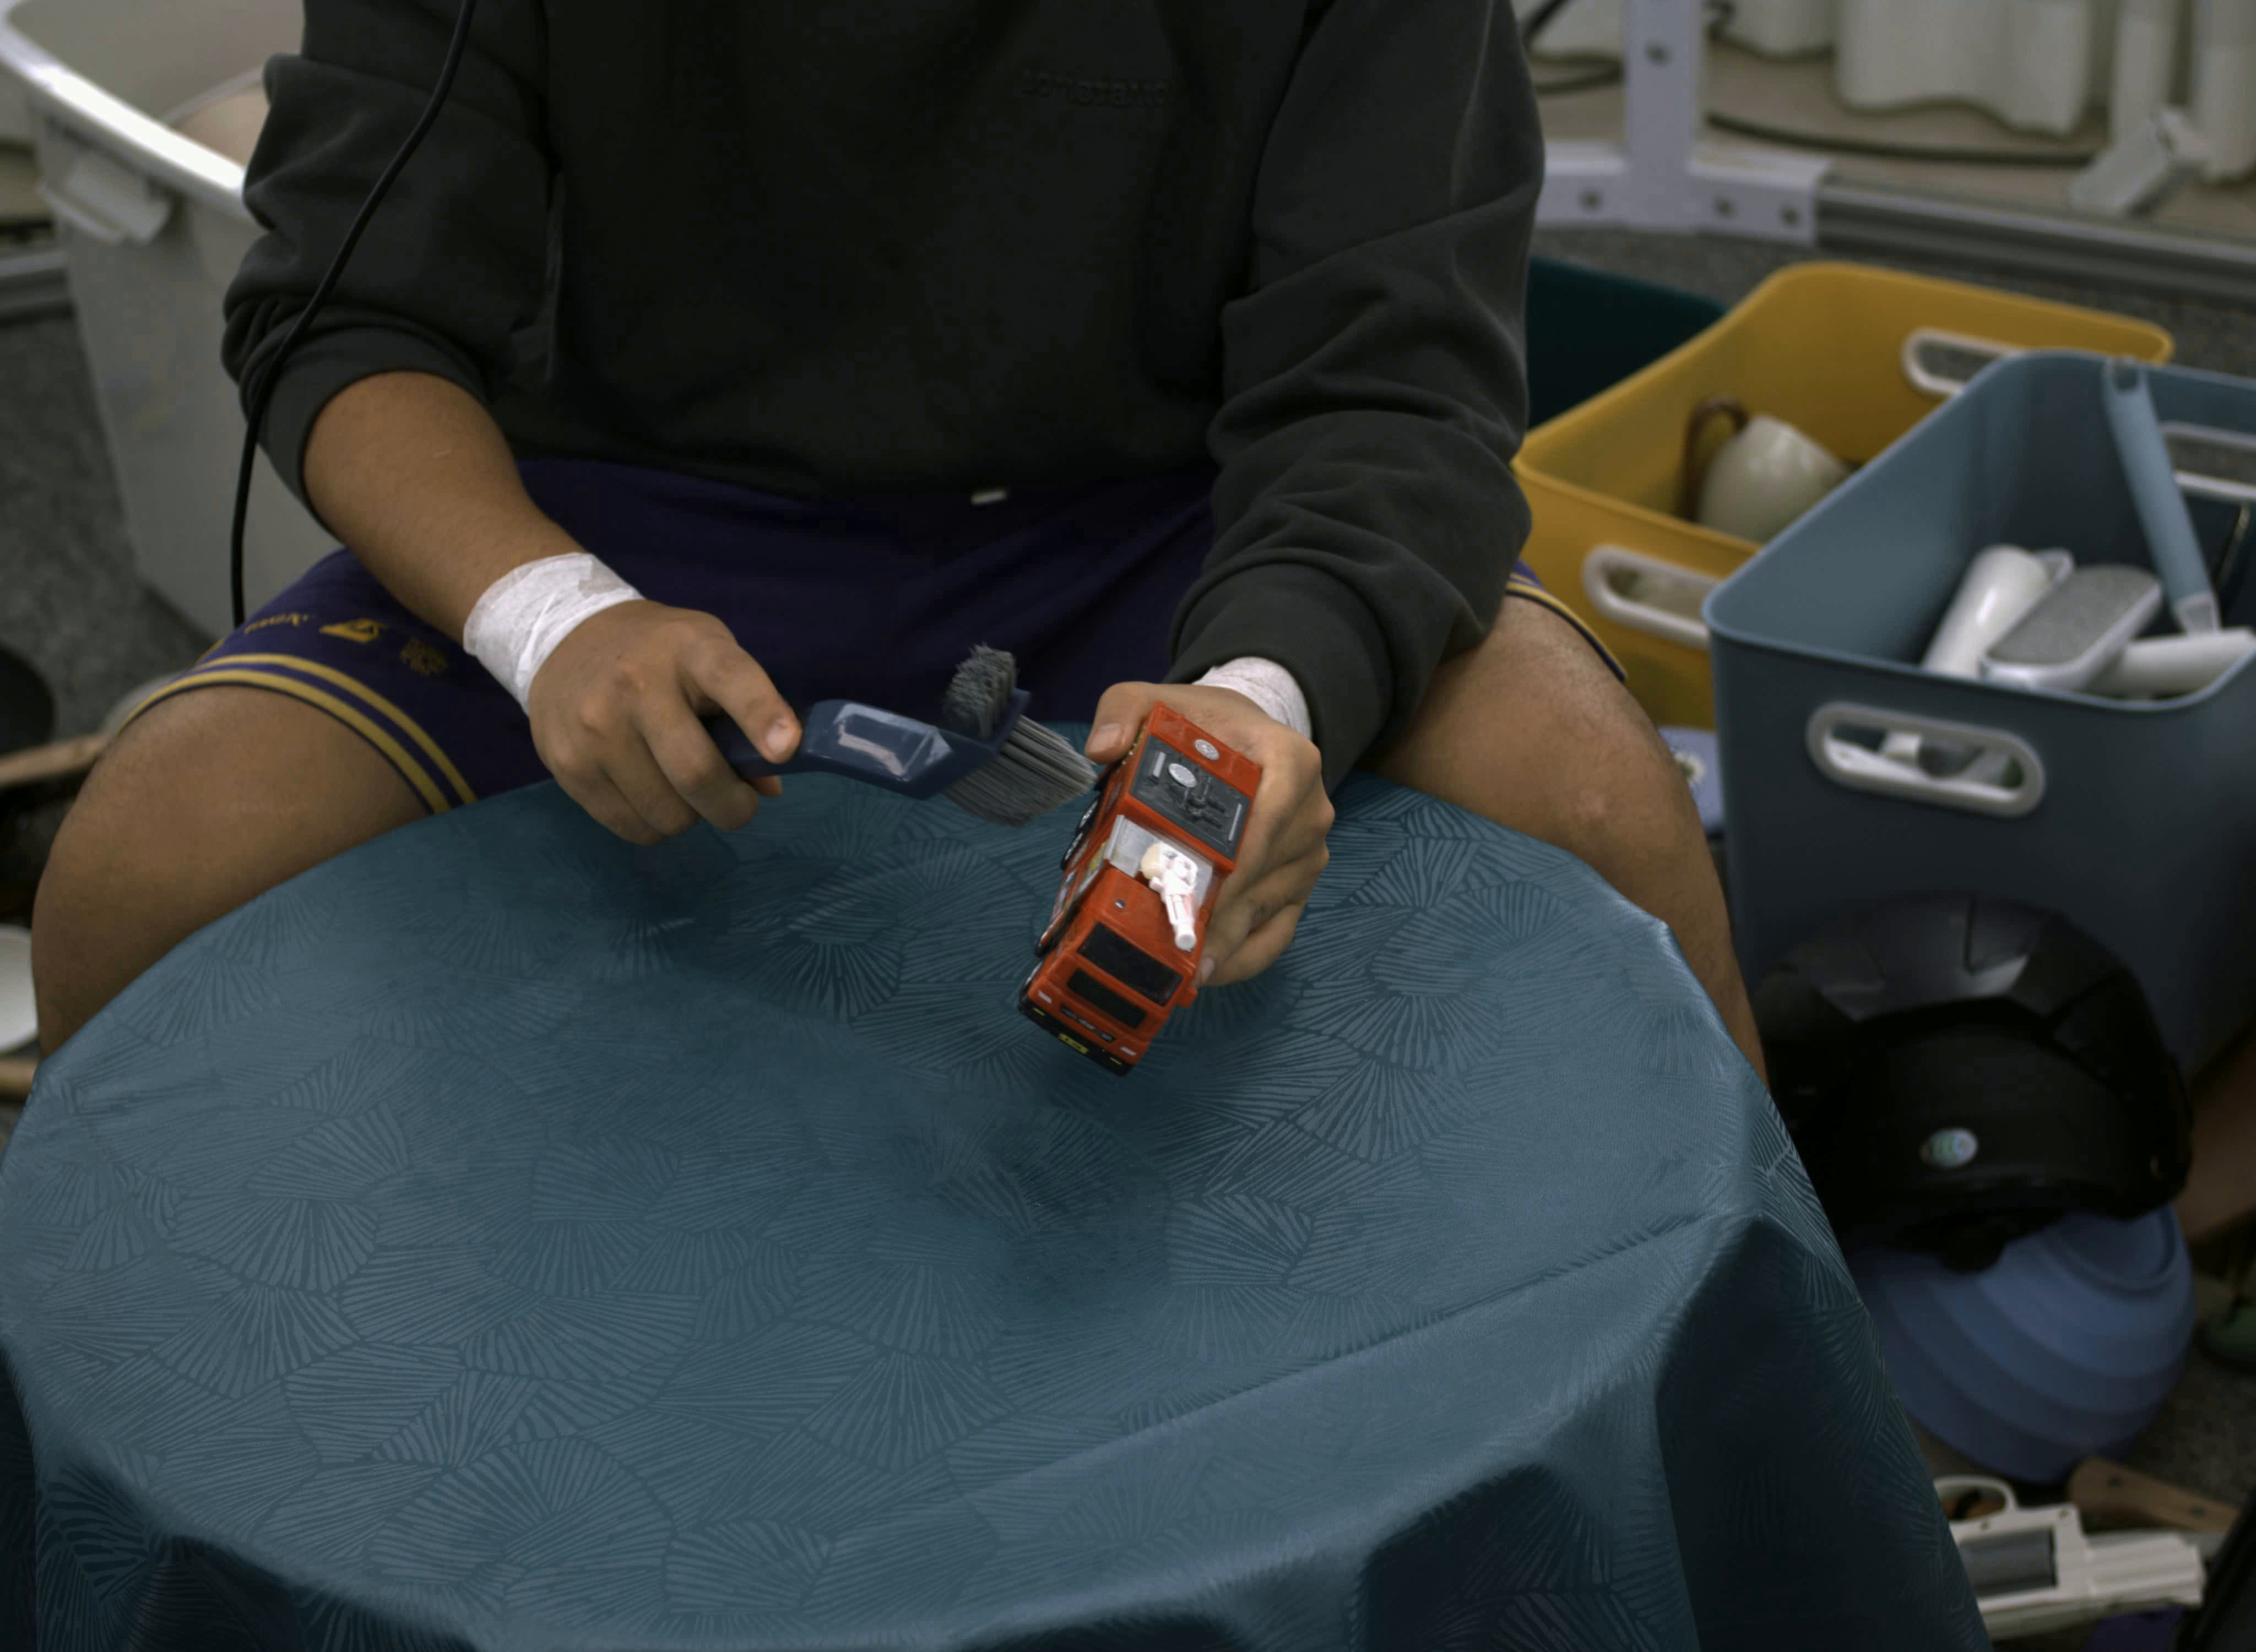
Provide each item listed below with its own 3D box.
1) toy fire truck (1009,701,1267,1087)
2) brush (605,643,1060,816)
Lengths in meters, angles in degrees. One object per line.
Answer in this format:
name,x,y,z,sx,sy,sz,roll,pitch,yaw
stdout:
toy fire truck,0.006,0.021,1.874,0.054,0.069,0.170,33,26,-8
brush,-0.117,-0.035,1.952,0.271,0.095,0.034,3,60,49
